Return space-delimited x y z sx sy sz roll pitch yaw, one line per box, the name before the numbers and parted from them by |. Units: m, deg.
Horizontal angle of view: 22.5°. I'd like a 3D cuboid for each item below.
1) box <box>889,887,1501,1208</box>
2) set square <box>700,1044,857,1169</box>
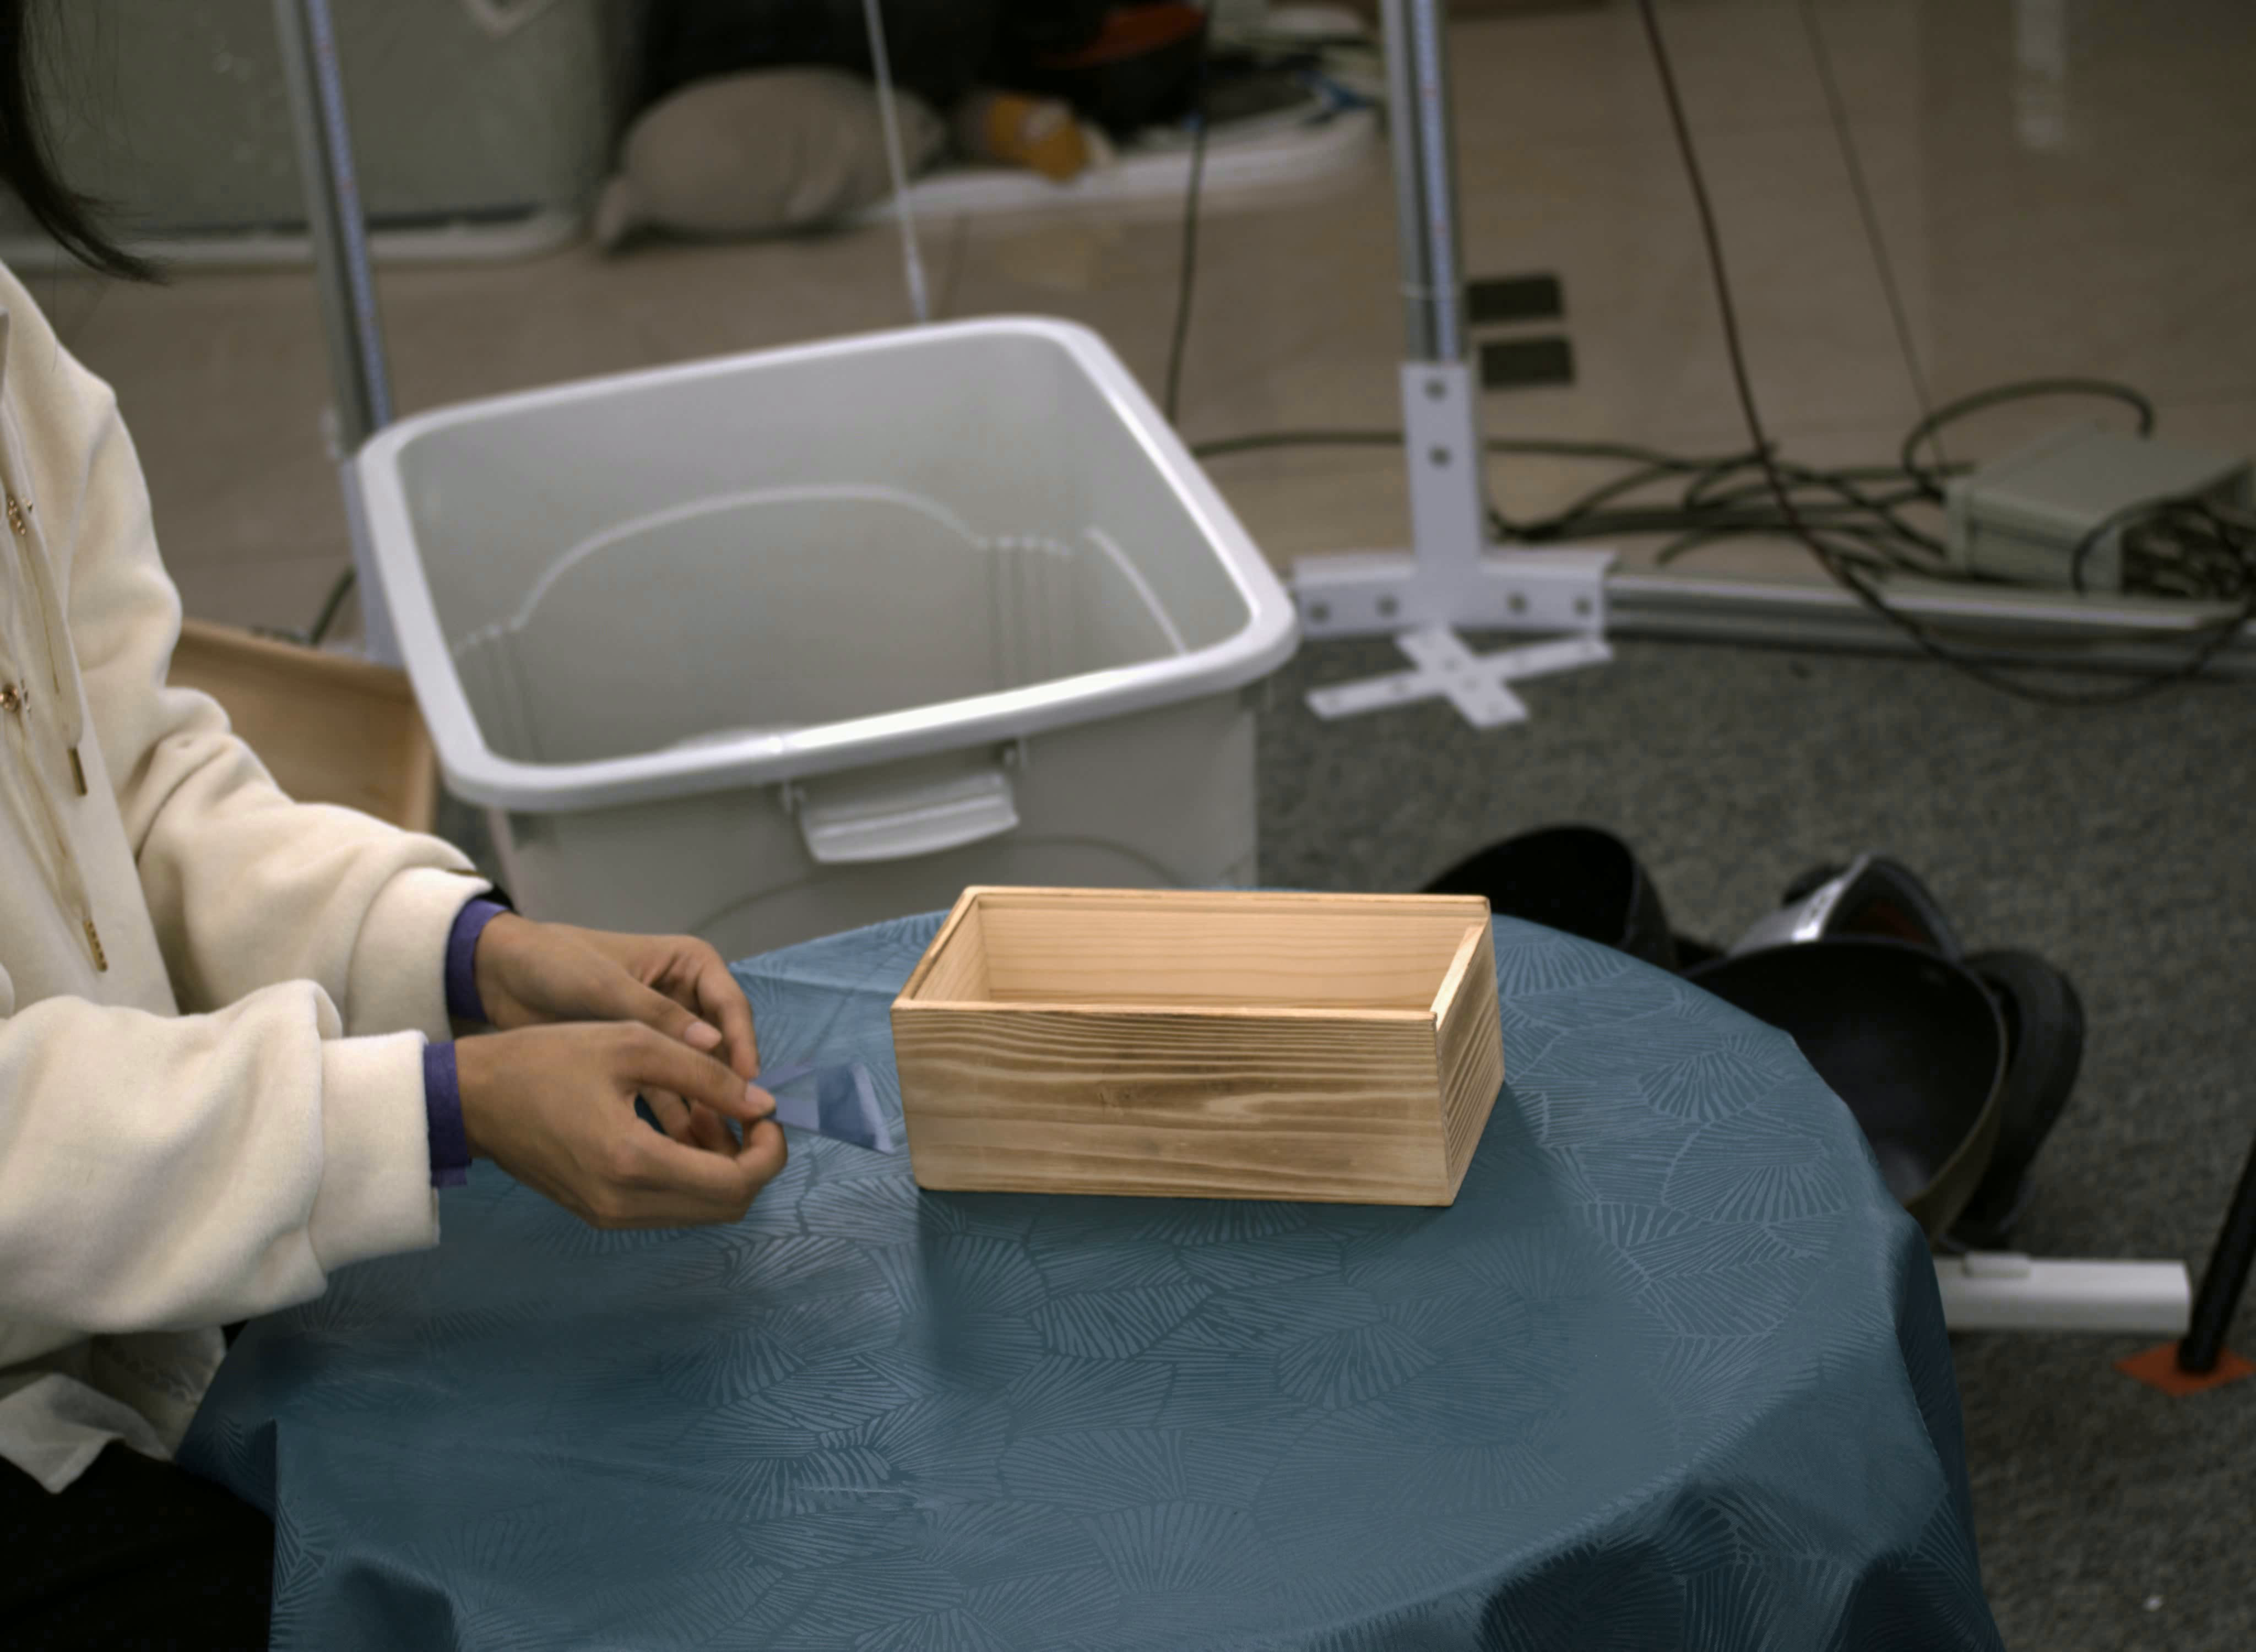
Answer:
box | 0.027 0.083 2.166 0.211 0.081 0.106 1 26 15
set square | -0.129 0.105 2.078 0.061 0.006 0.130 -9 17 1
